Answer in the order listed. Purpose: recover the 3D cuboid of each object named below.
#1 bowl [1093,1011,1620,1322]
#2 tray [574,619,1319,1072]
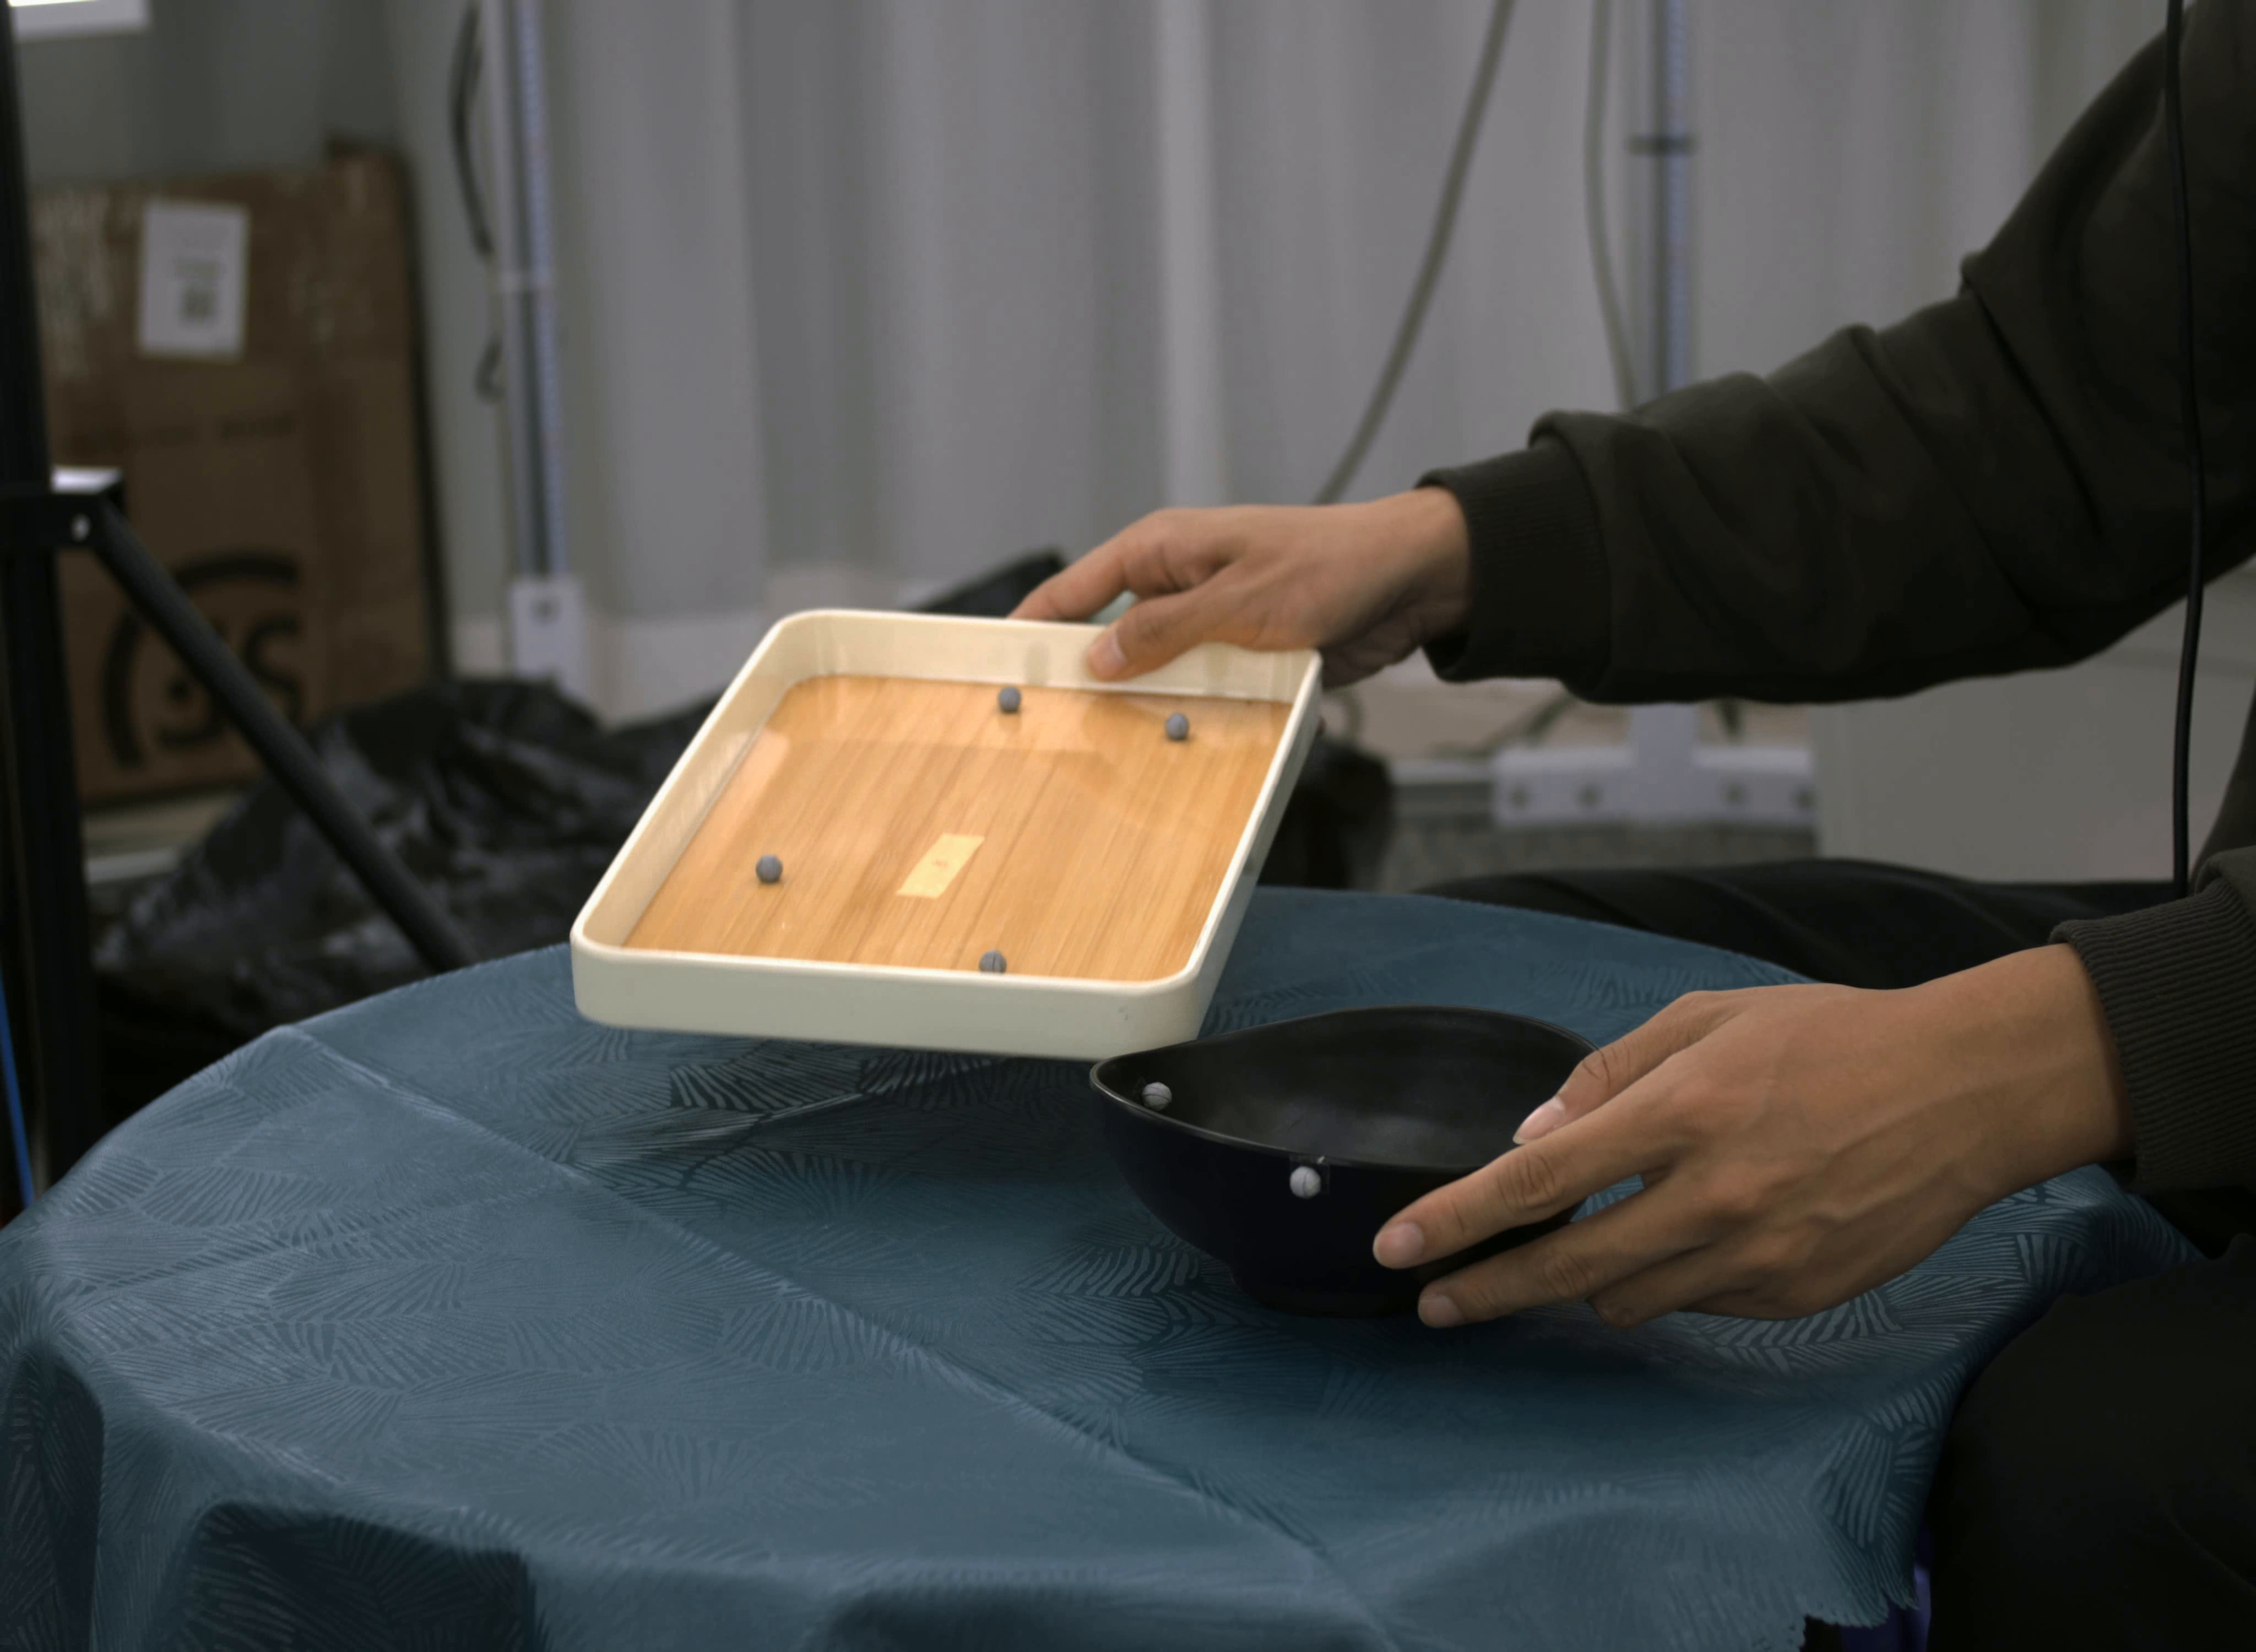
[{"bbox_3d":[0.062,0.098,1.474,0.134,0.067,0.174,-10,15,-31],"label":"bowl"},{"bbox_3d":[-0.050,0.001,1.695,0.192,0.027,0.299,3,23,10],"label":"tray"}]
